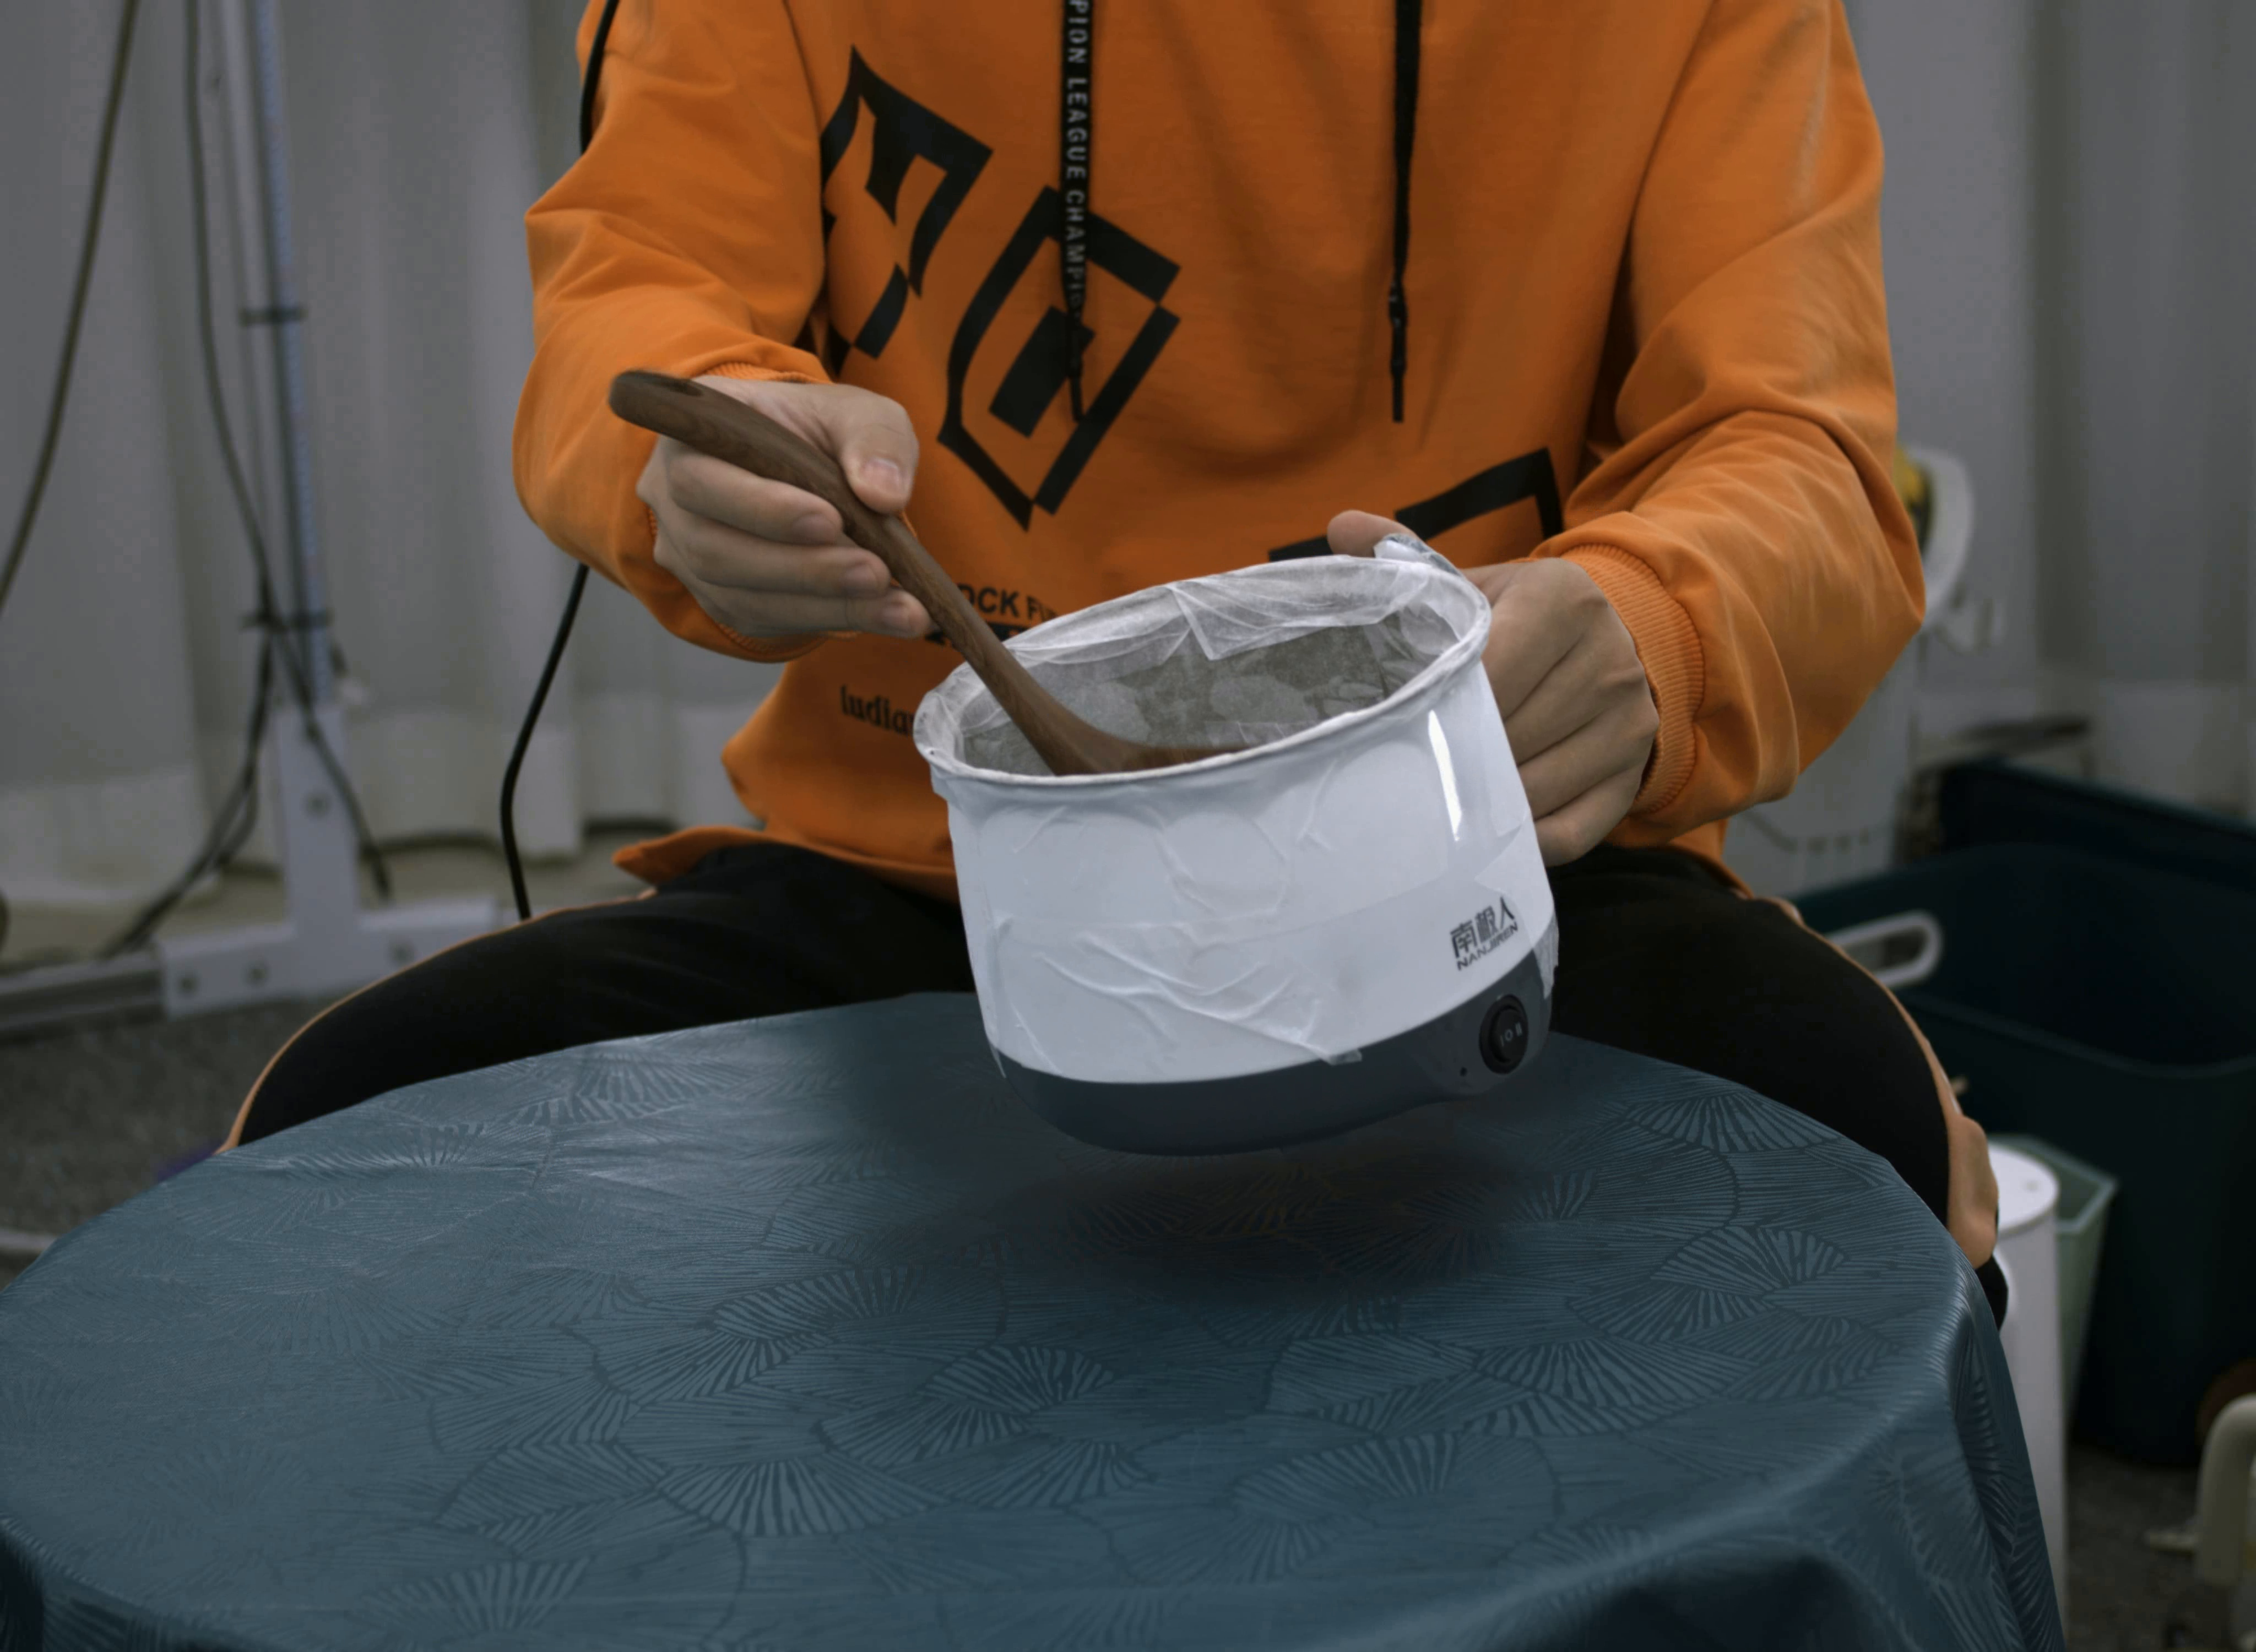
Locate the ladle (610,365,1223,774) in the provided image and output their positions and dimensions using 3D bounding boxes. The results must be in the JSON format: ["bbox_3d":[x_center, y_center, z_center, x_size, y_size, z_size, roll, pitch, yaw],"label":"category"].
[{"bbox_3d":[-0.041,-0.069,1.640,0.260,0.065,0.077,41,21,1],"label":"ladle"}]

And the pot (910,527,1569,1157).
[{"bbox_3d":[0.051,-0.001,1.669,0.179,0.135,0.234,4,26,39],"label":"pot"}]
